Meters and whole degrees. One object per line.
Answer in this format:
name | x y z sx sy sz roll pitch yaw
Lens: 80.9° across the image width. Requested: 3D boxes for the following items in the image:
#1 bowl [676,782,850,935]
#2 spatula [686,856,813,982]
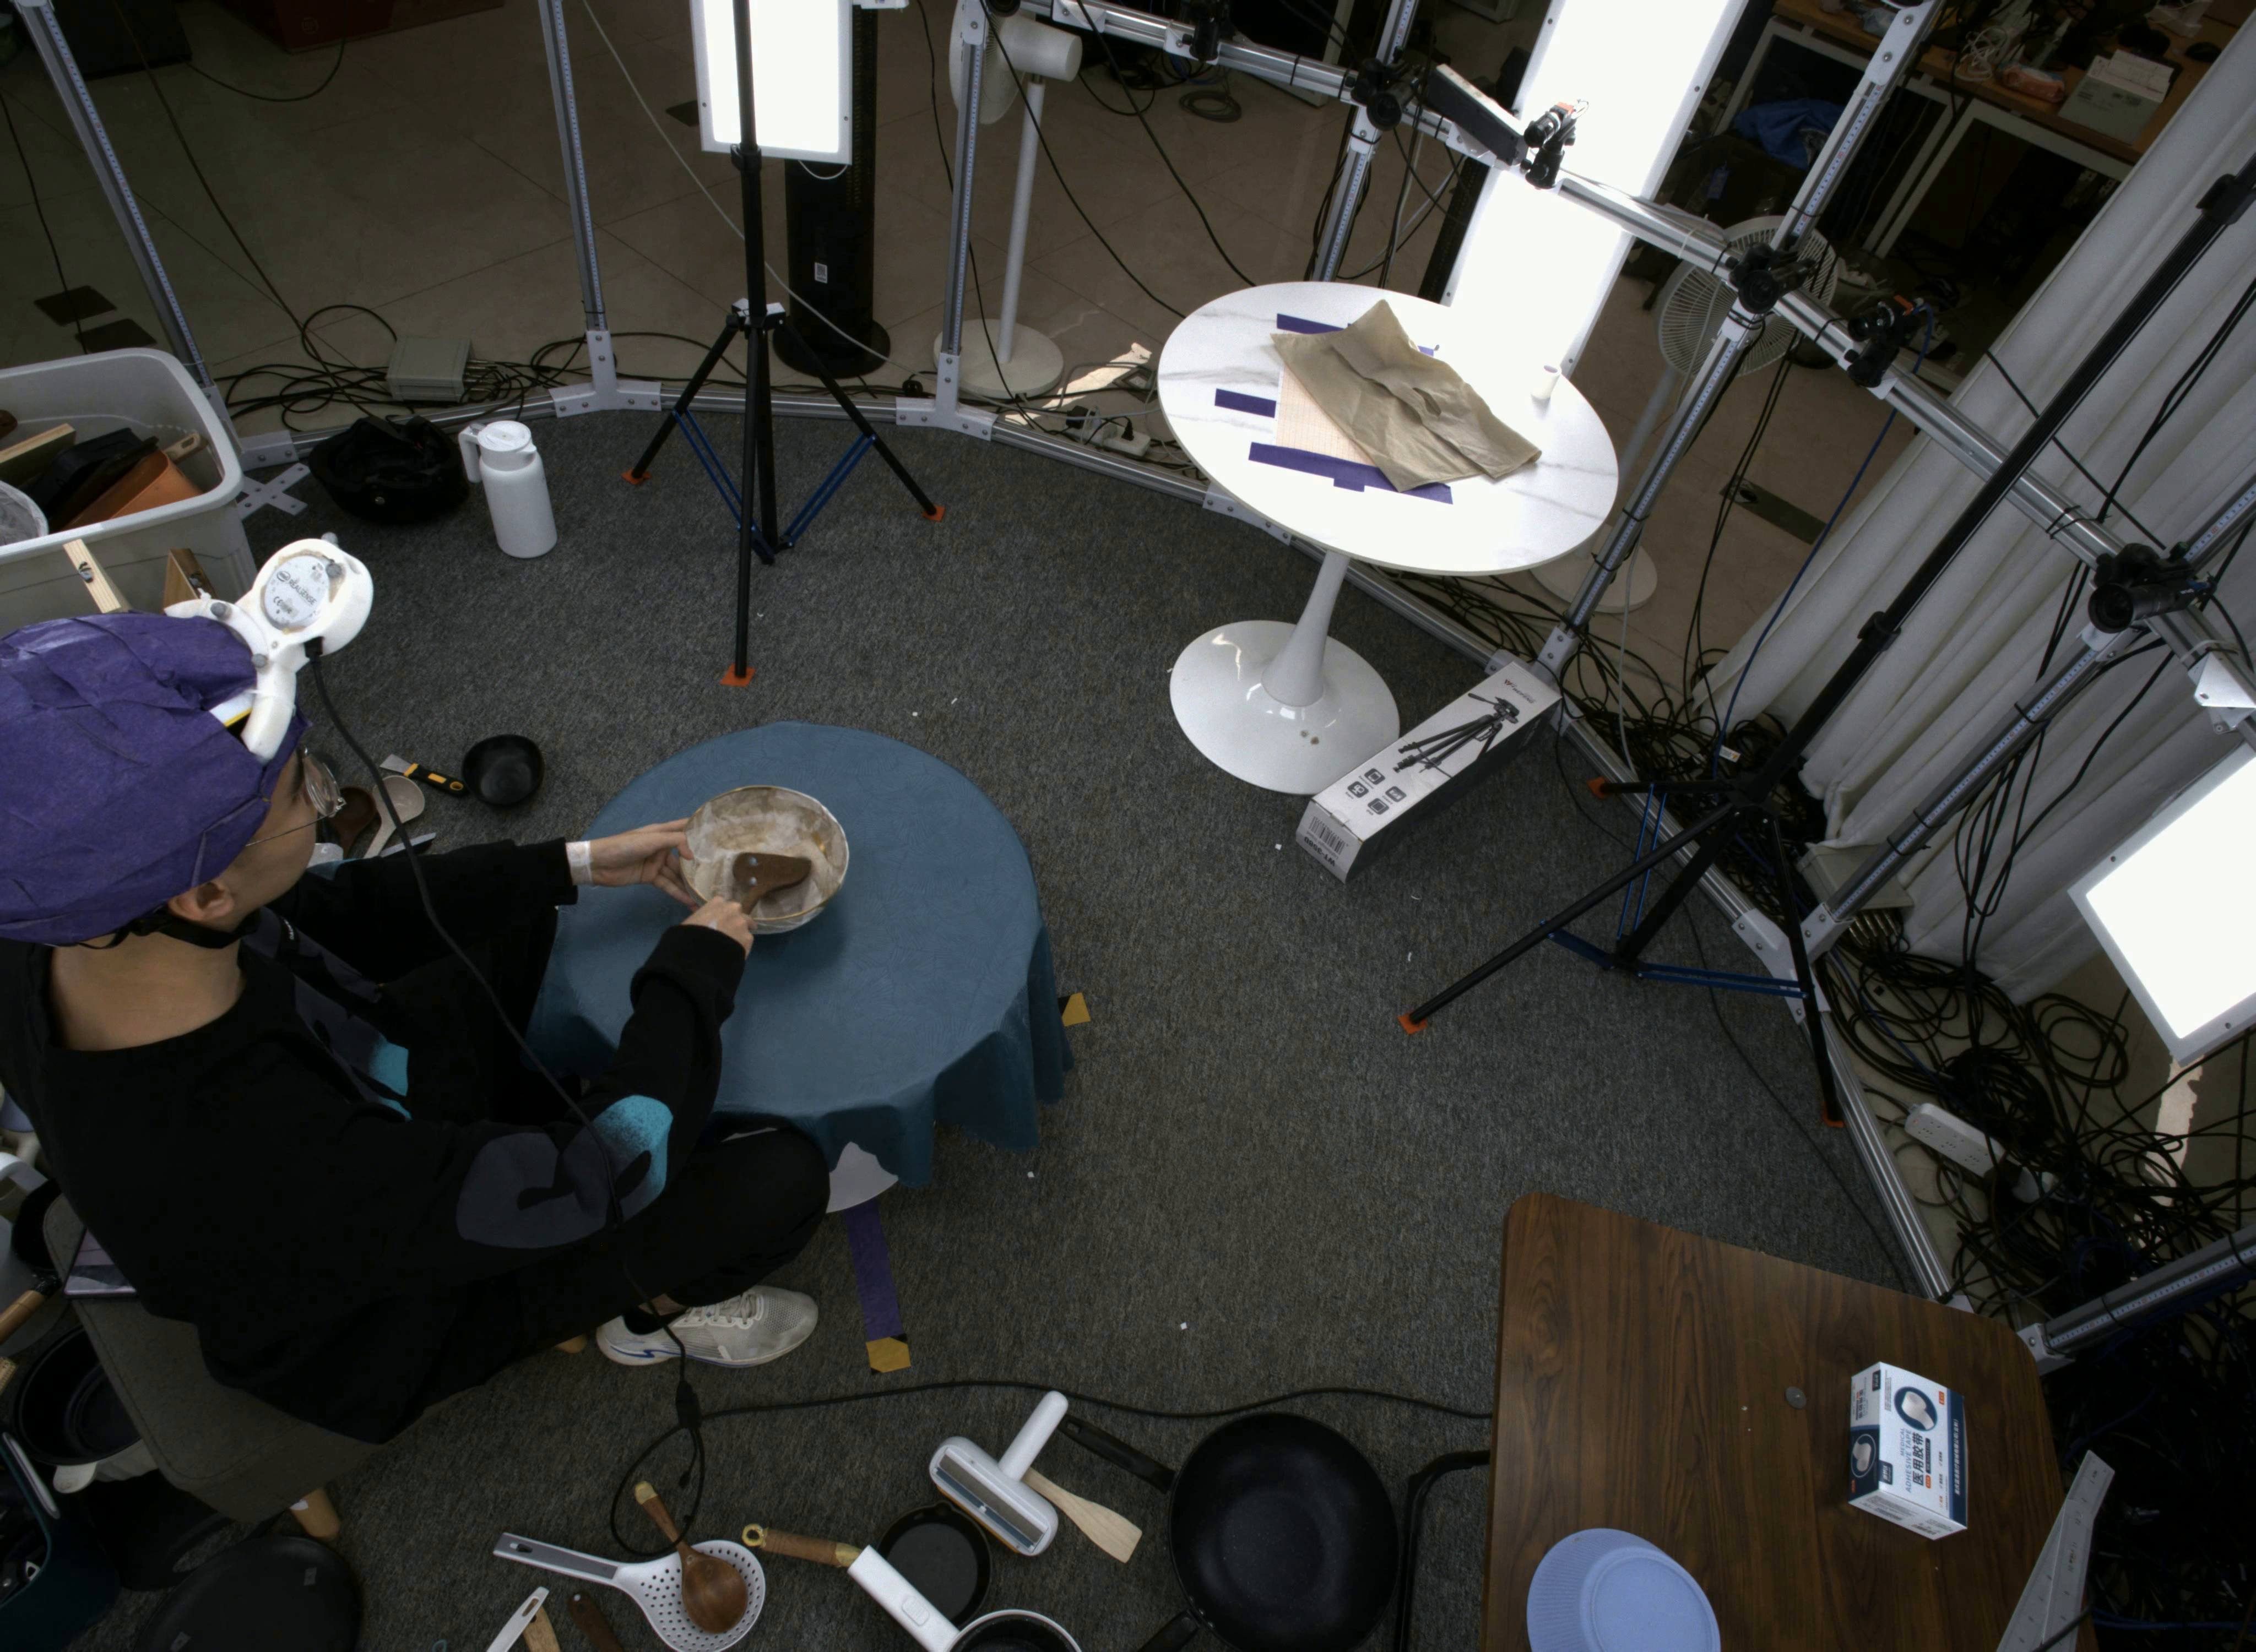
bowl | -0.454 0.054 1.603 0.215 0.096 0.211 10 54 -13
spatula | -0.442 0.096 1.482 0.095 0.016 0.379 7 16 -4
